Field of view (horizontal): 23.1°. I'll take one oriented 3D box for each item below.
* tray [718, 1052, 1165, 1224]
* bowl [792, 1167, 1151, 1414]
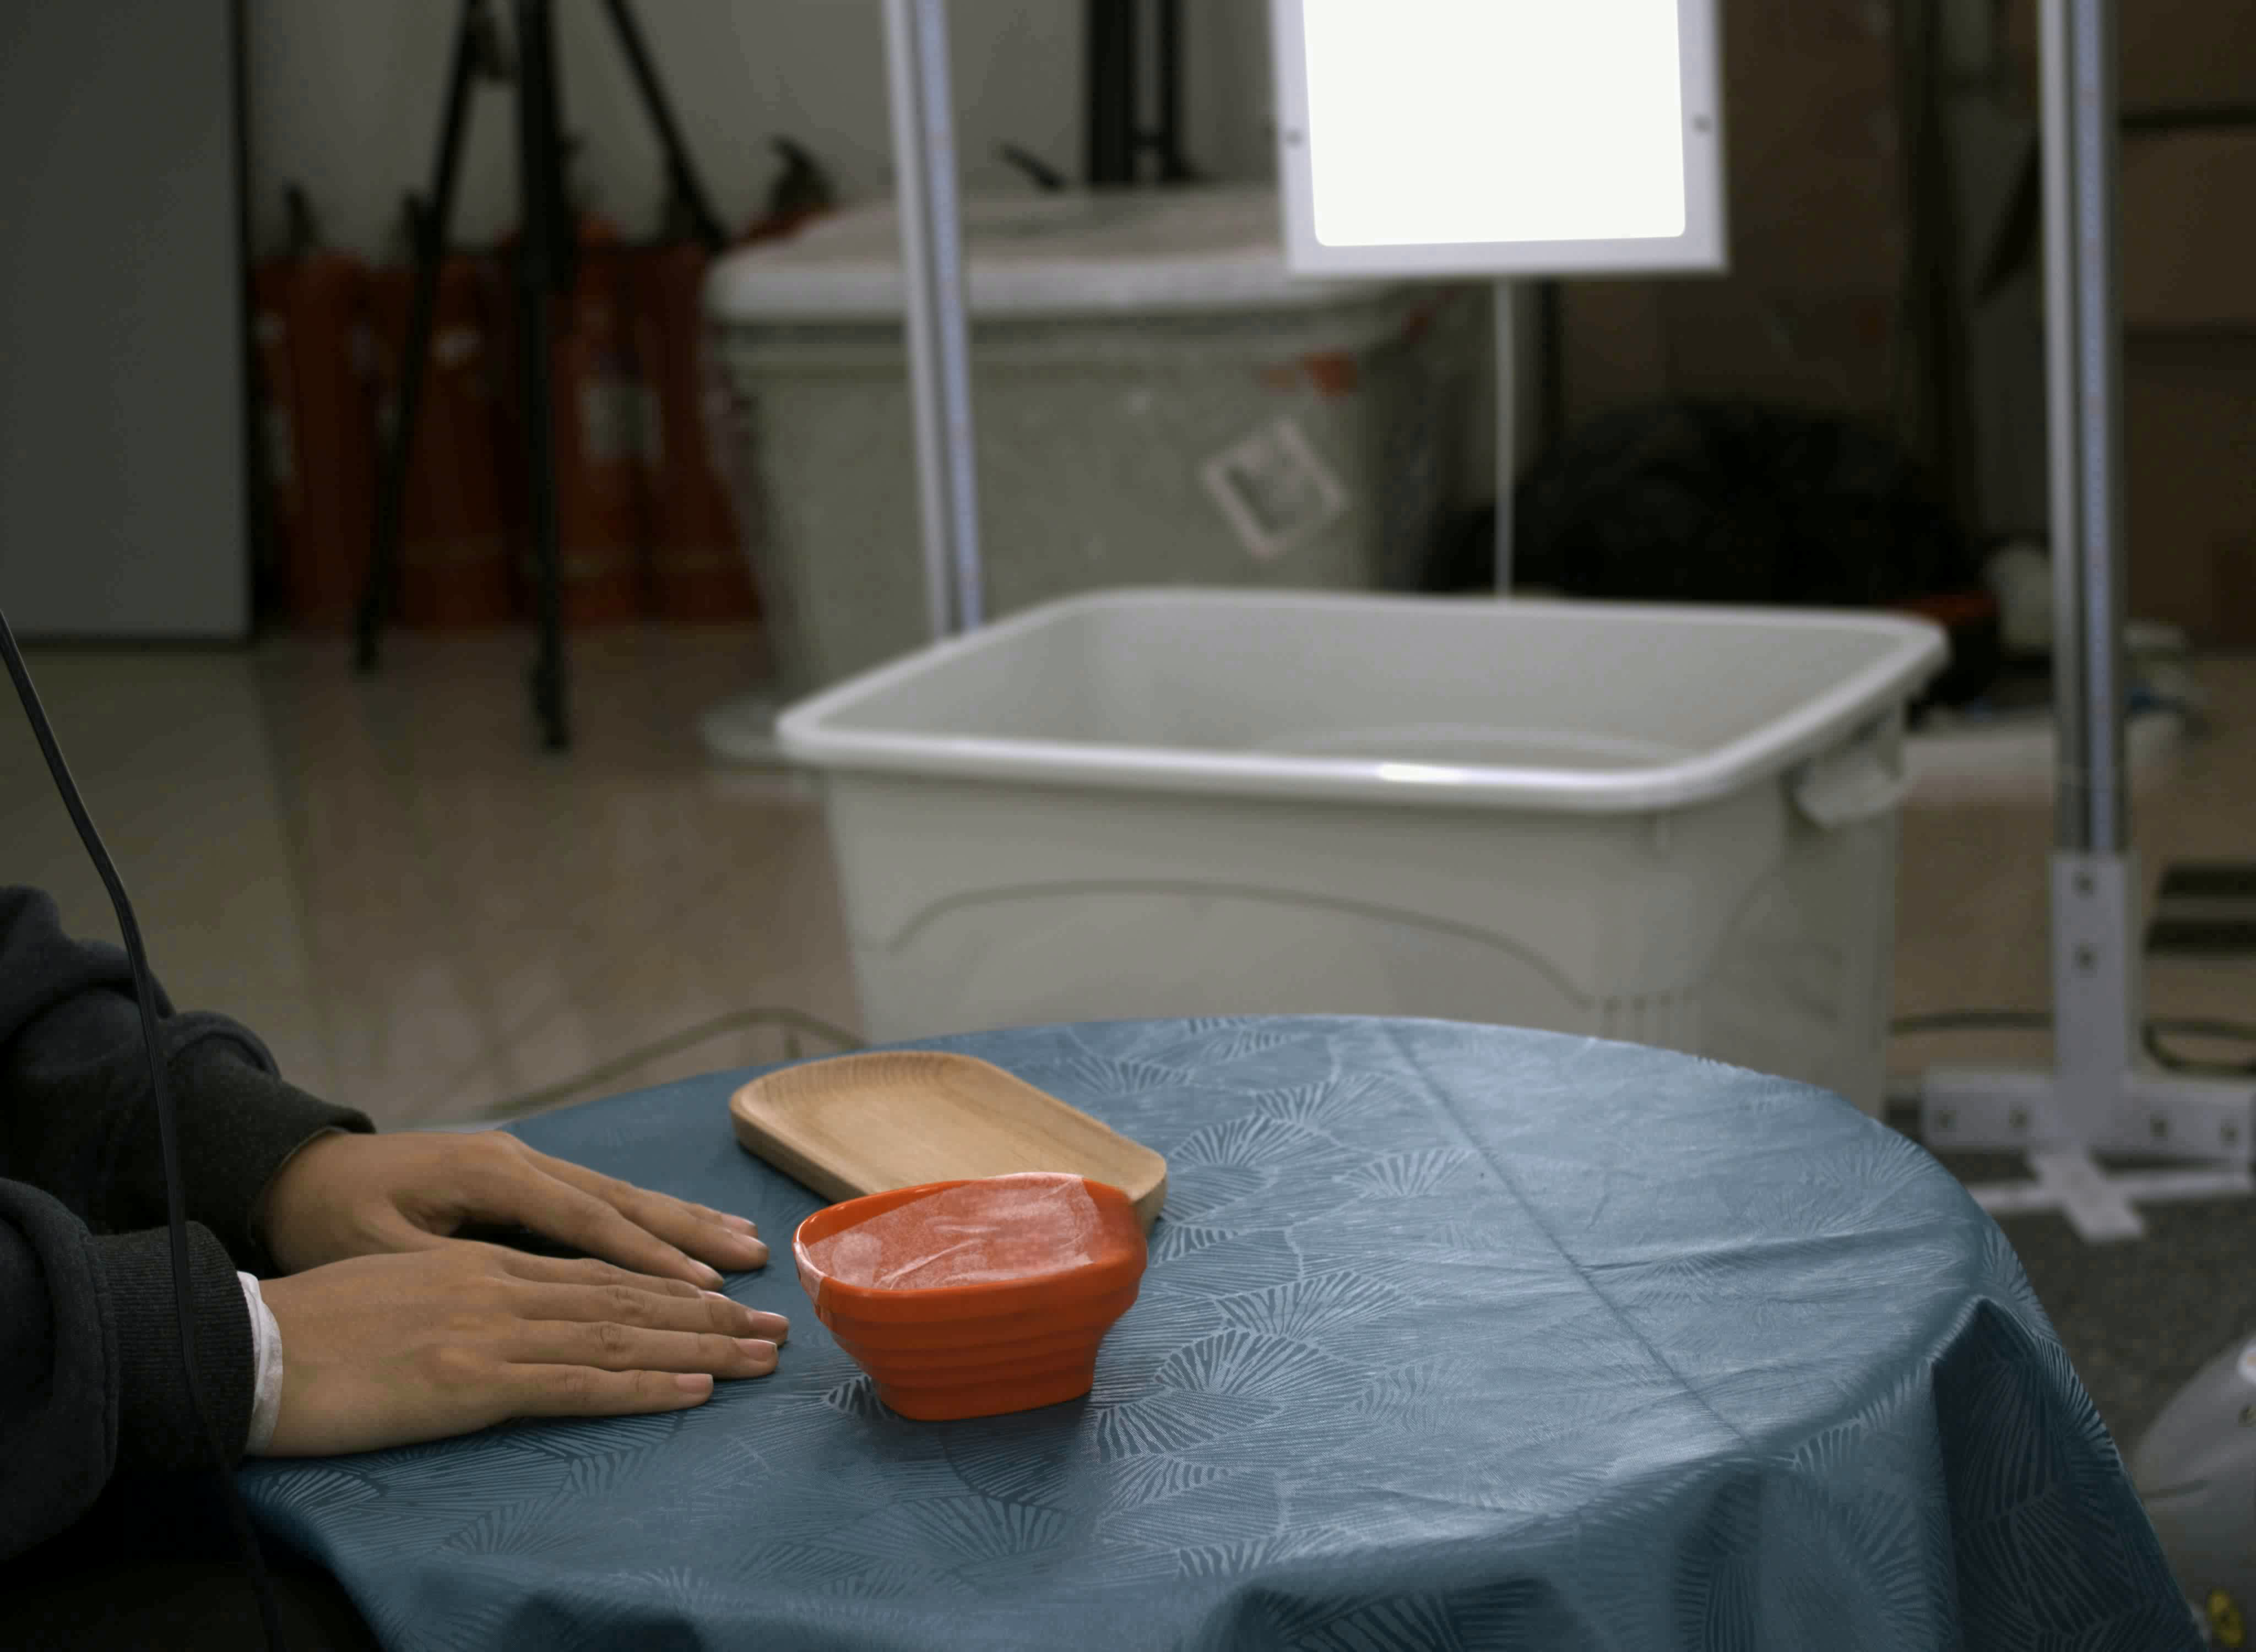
[{"bbox_3d":[-0.067,0.115,1.937,0.099,0.020,0.235,-11,14,-25],"label":"tray"},{"bbox_3d":[-0.048,0.147,1.715,0.118,0.051,0.119,-3,14,-1],"label":"bowl"}]
